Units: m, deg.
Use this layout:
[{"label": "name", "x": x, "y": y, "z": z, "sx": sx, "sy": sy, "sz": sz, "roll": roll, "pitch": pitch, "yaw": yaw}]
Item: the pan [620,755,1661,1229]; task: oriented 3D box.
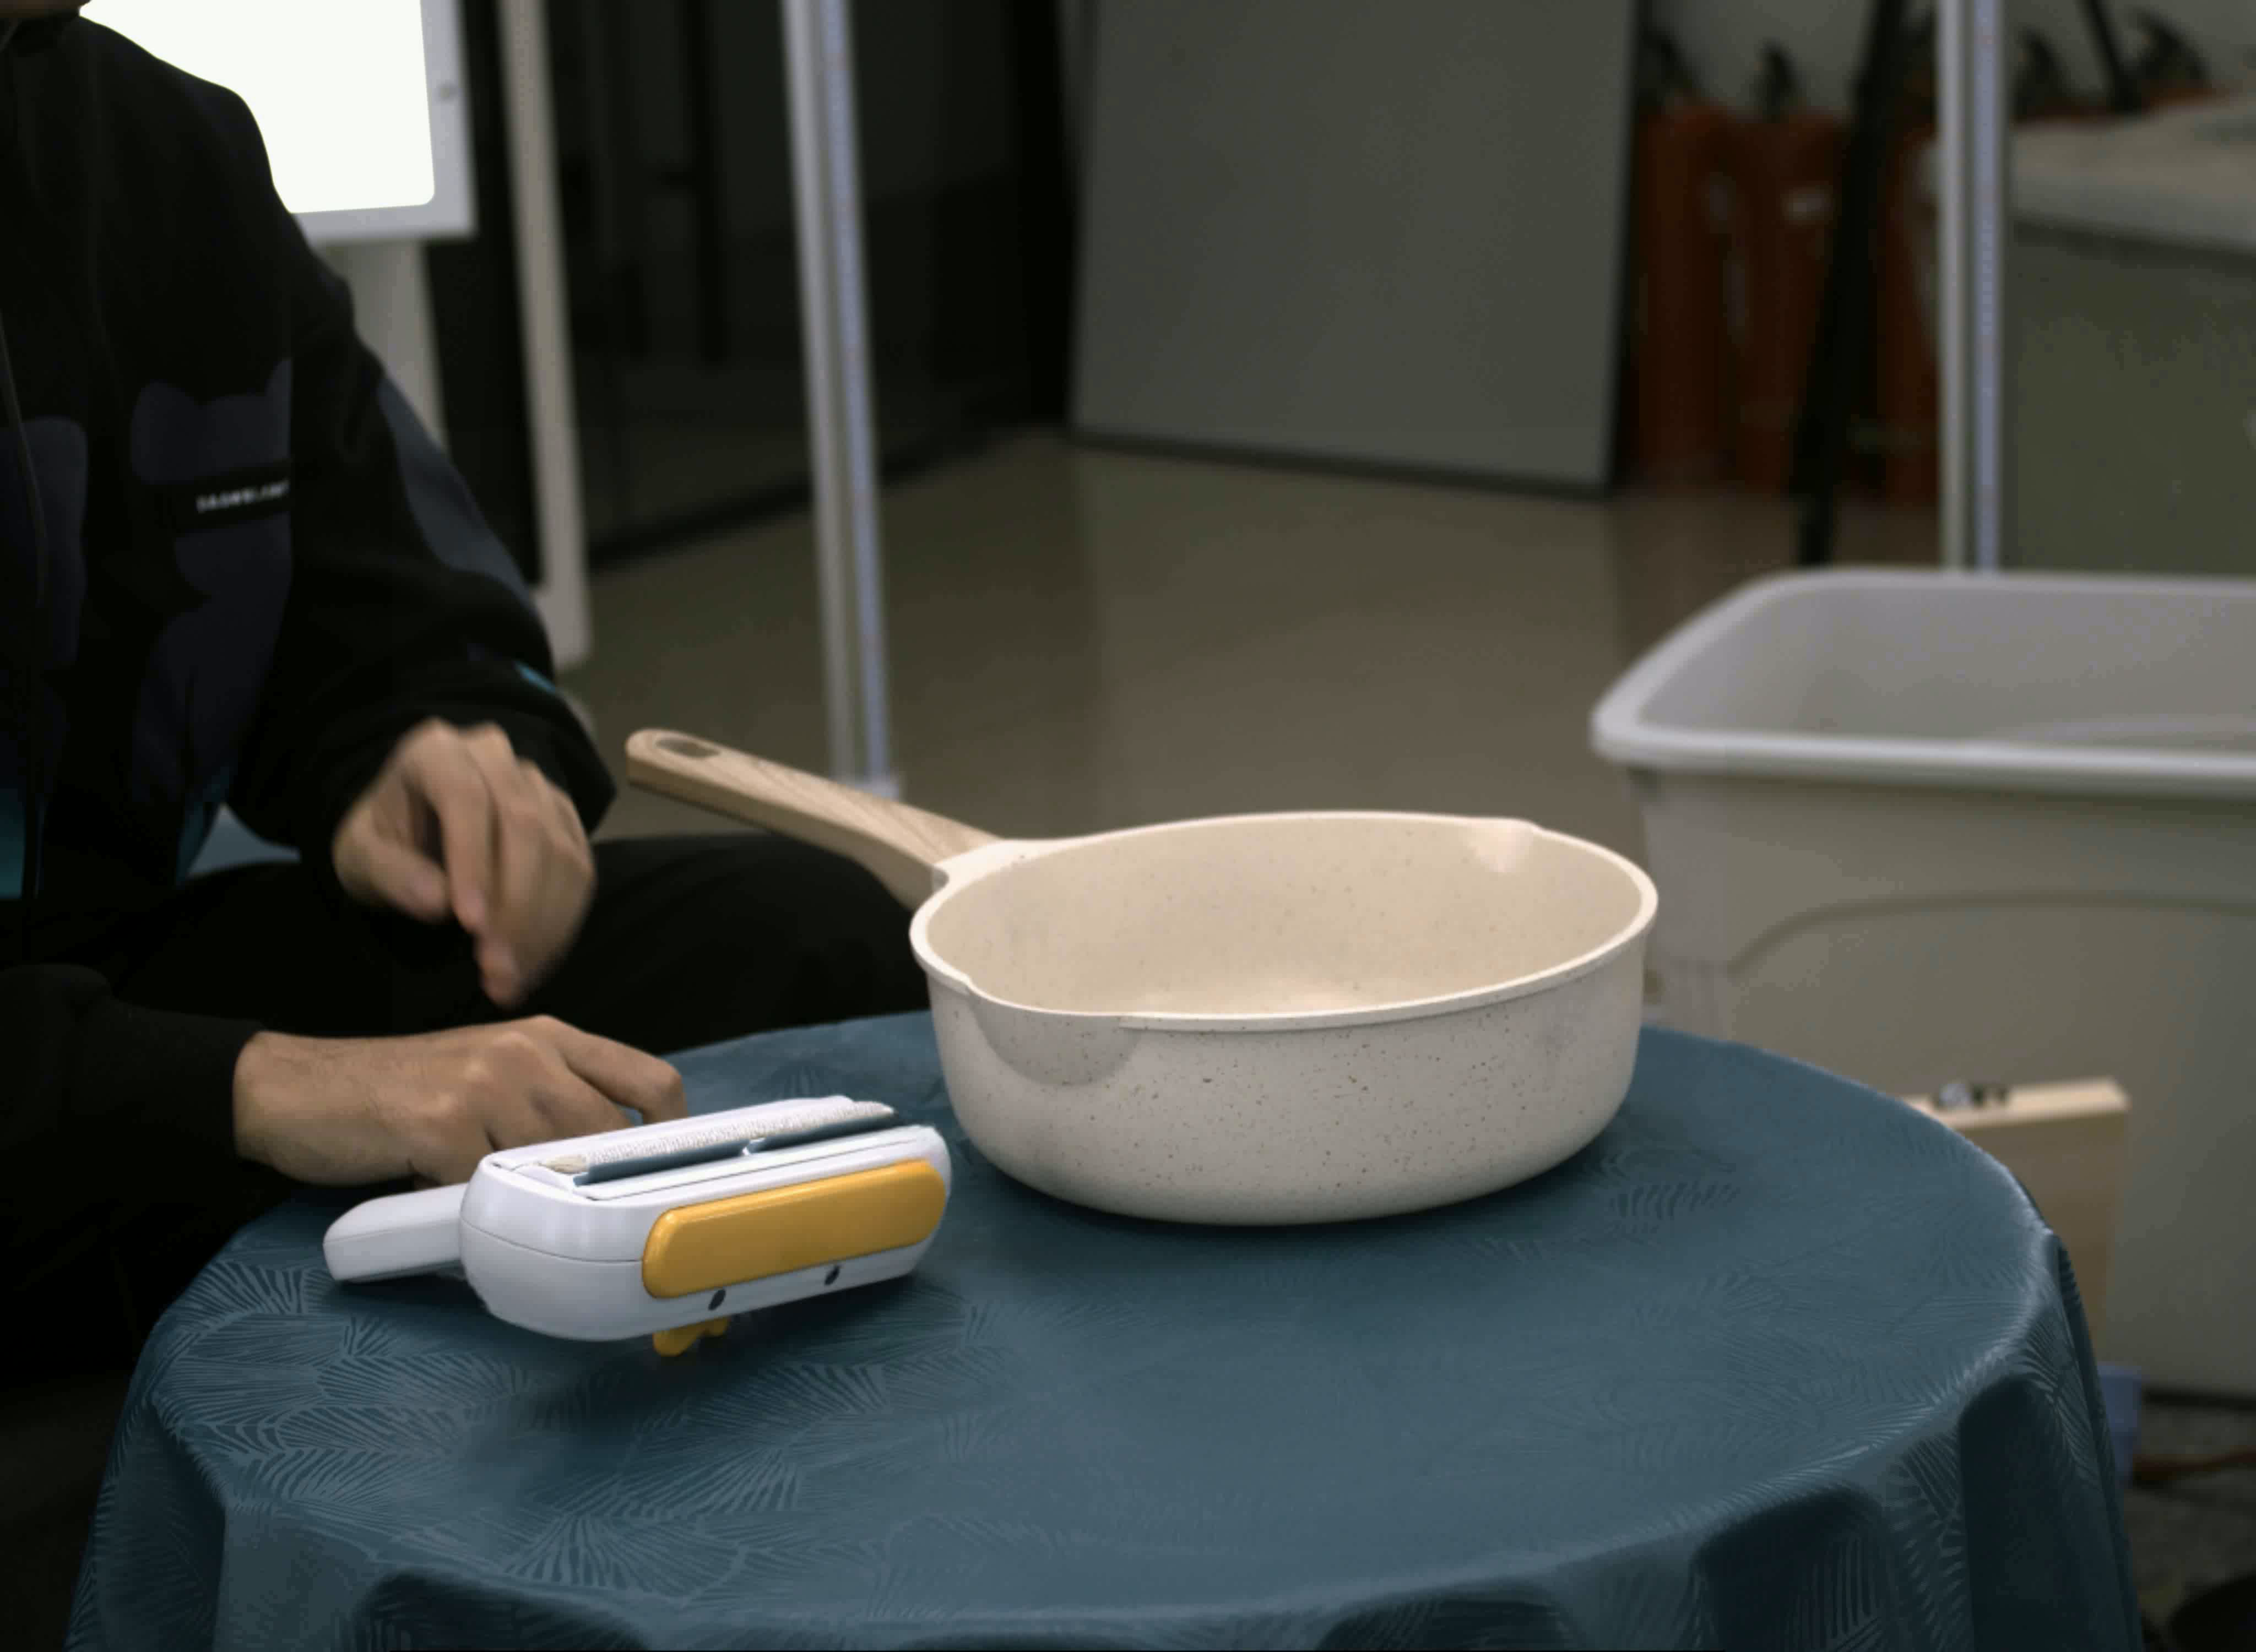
[{"label": "pan", "x": -0.013, "y": 0.047, "z": 1.866, "sx": 0.438, "sy": 0.103, "sz": 0.258, "roll": 8, "pitch": 21, "yaw": 41}]

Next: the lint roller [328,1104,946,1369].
[{"label": "lint roller", "x": -0.176, "y": 0.122, "z": 1.677, "sx": 0.194, "sy": 0.075, "sz": 0.189, "roll": 5, "pitch": 11, "yaw": 39}]
